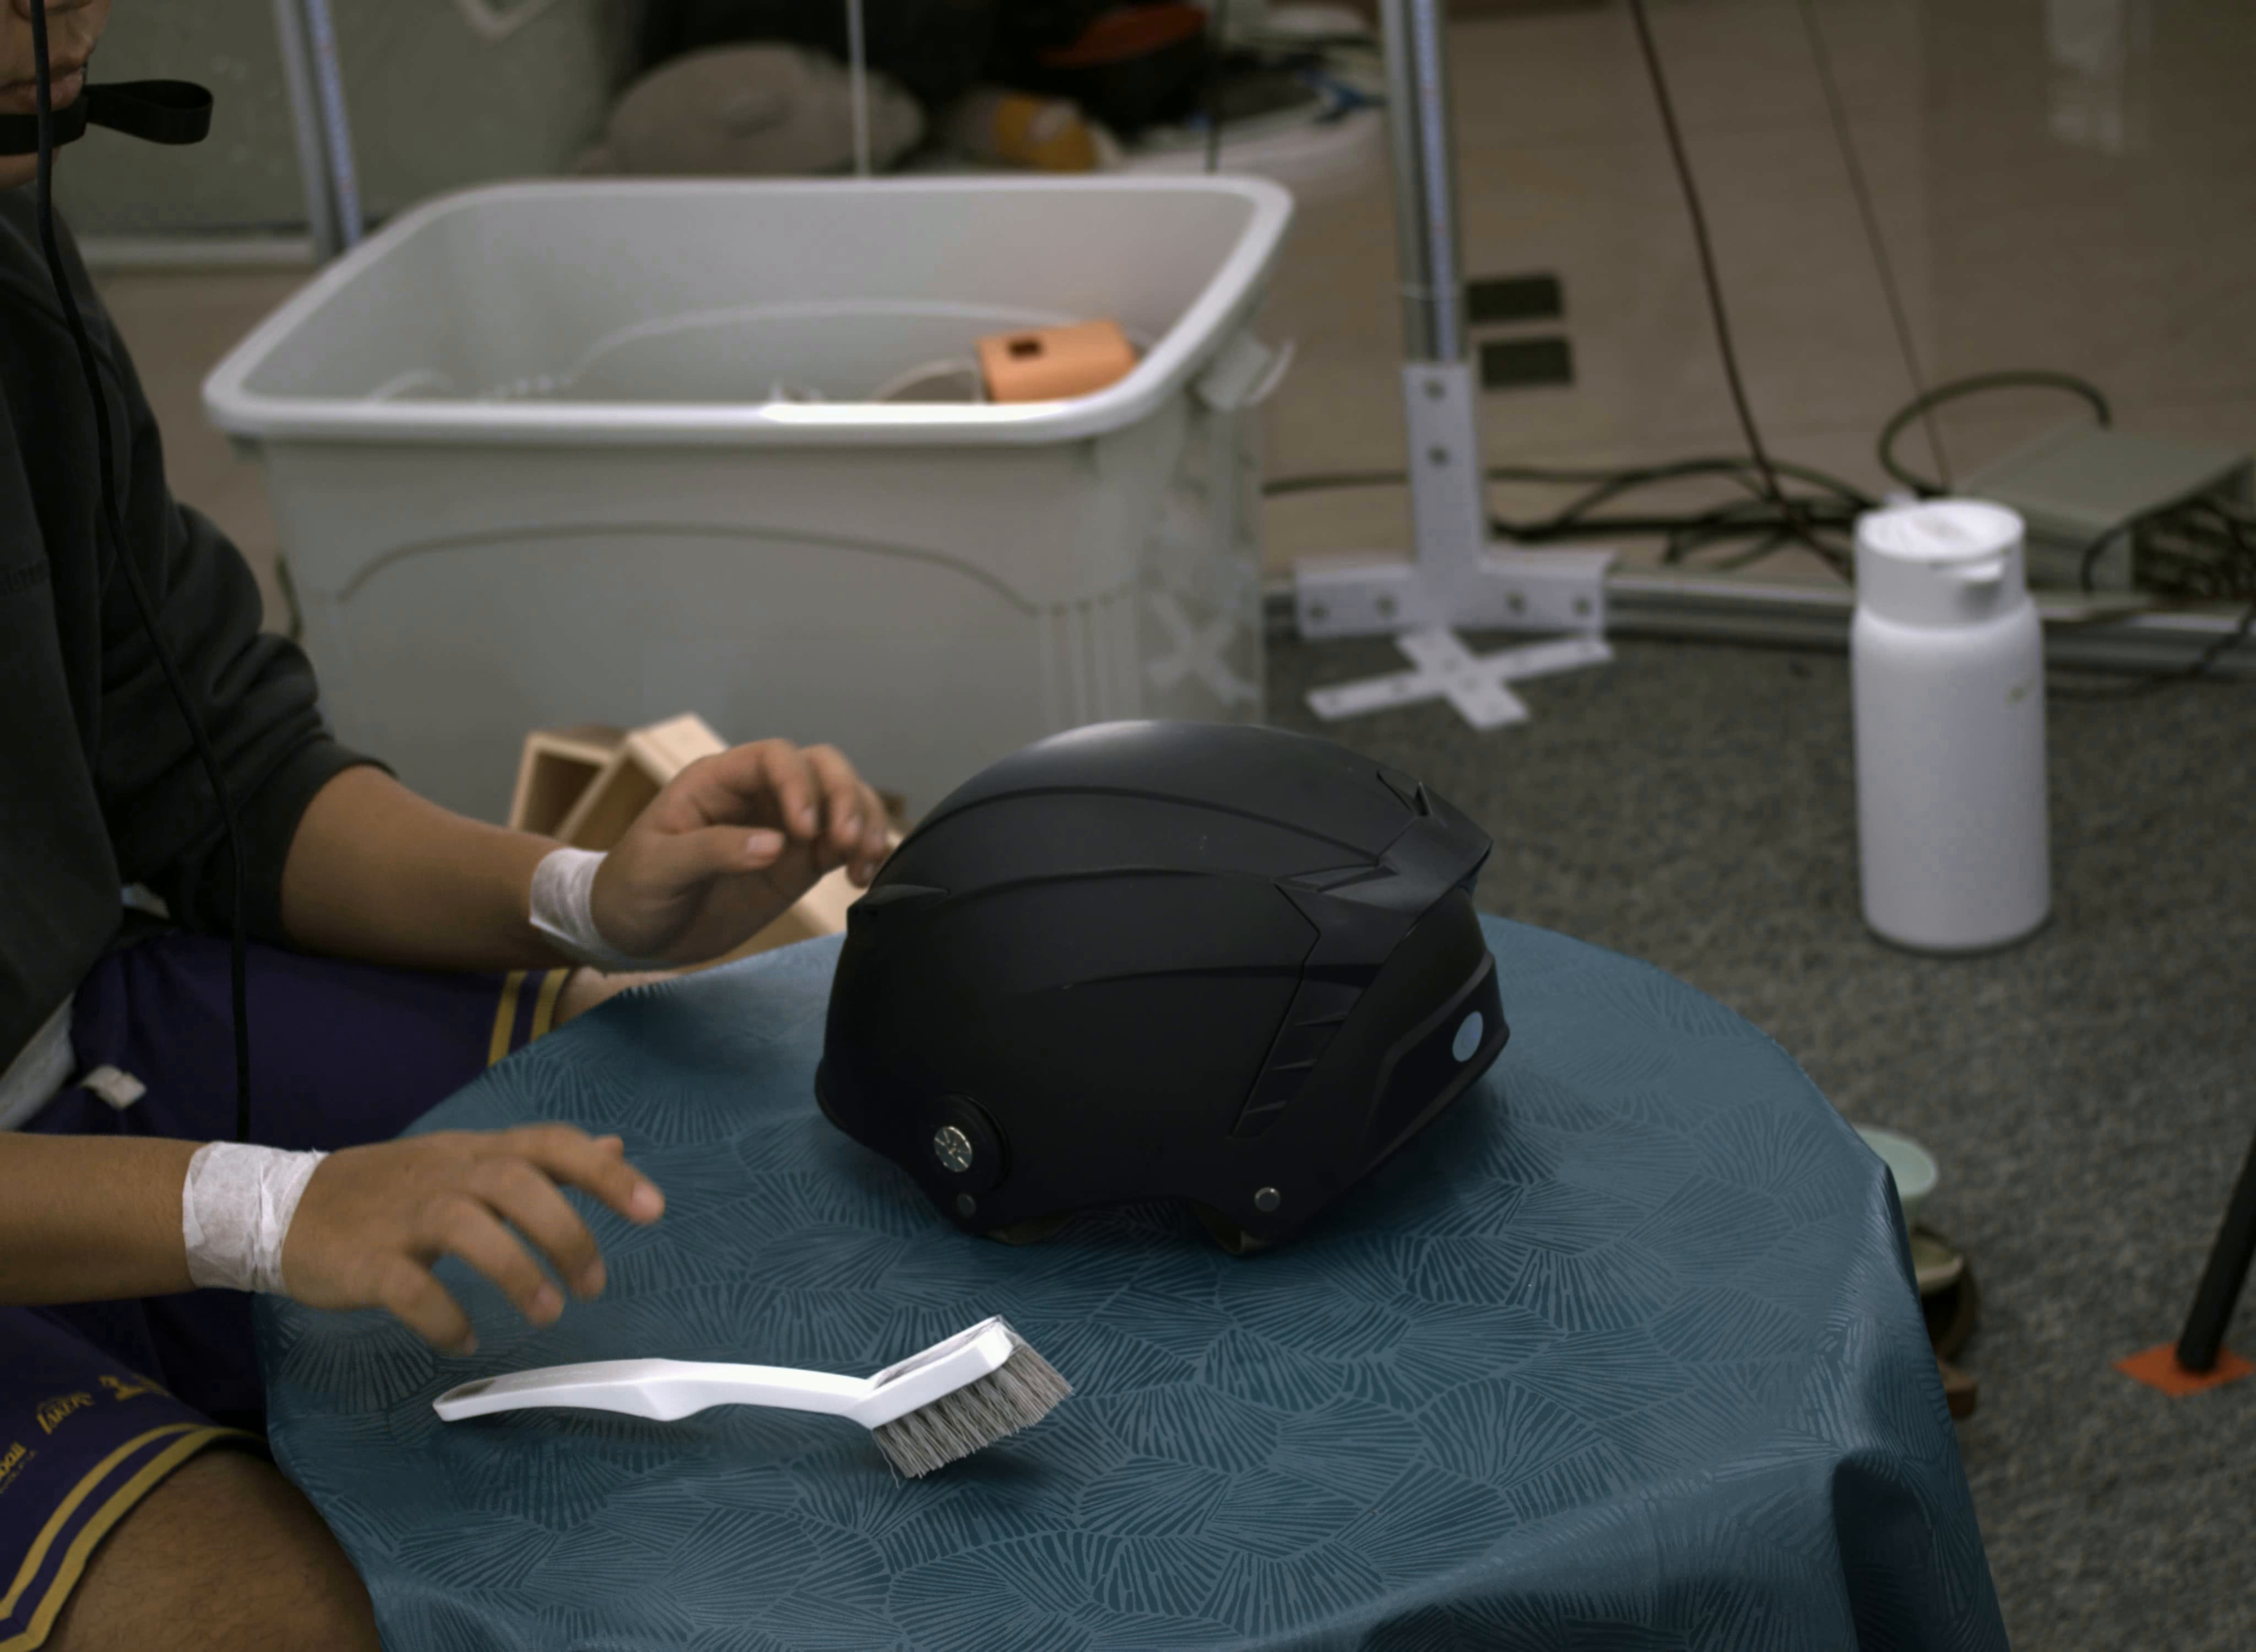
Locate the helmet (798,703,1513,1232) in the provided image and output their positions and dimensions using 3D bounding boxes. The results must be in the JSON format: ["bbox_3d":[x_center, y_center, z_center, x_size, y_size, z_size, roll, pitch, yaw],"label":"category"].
[{"bbox_3d":[0.010,0.042,2.160,0.275,0.175,0.244,10,30,28],"label":"helmet"}]

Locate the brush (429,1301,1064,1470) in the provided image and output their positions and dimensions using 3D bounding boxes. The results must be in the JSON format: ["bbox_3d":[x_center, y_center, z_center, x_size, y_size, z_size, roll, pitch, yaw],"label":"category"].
[{"bbox_3d":[-0.136,0.209,2.003,0.244,0.051,0.034,-11,14,24],"label":"brush"}]
